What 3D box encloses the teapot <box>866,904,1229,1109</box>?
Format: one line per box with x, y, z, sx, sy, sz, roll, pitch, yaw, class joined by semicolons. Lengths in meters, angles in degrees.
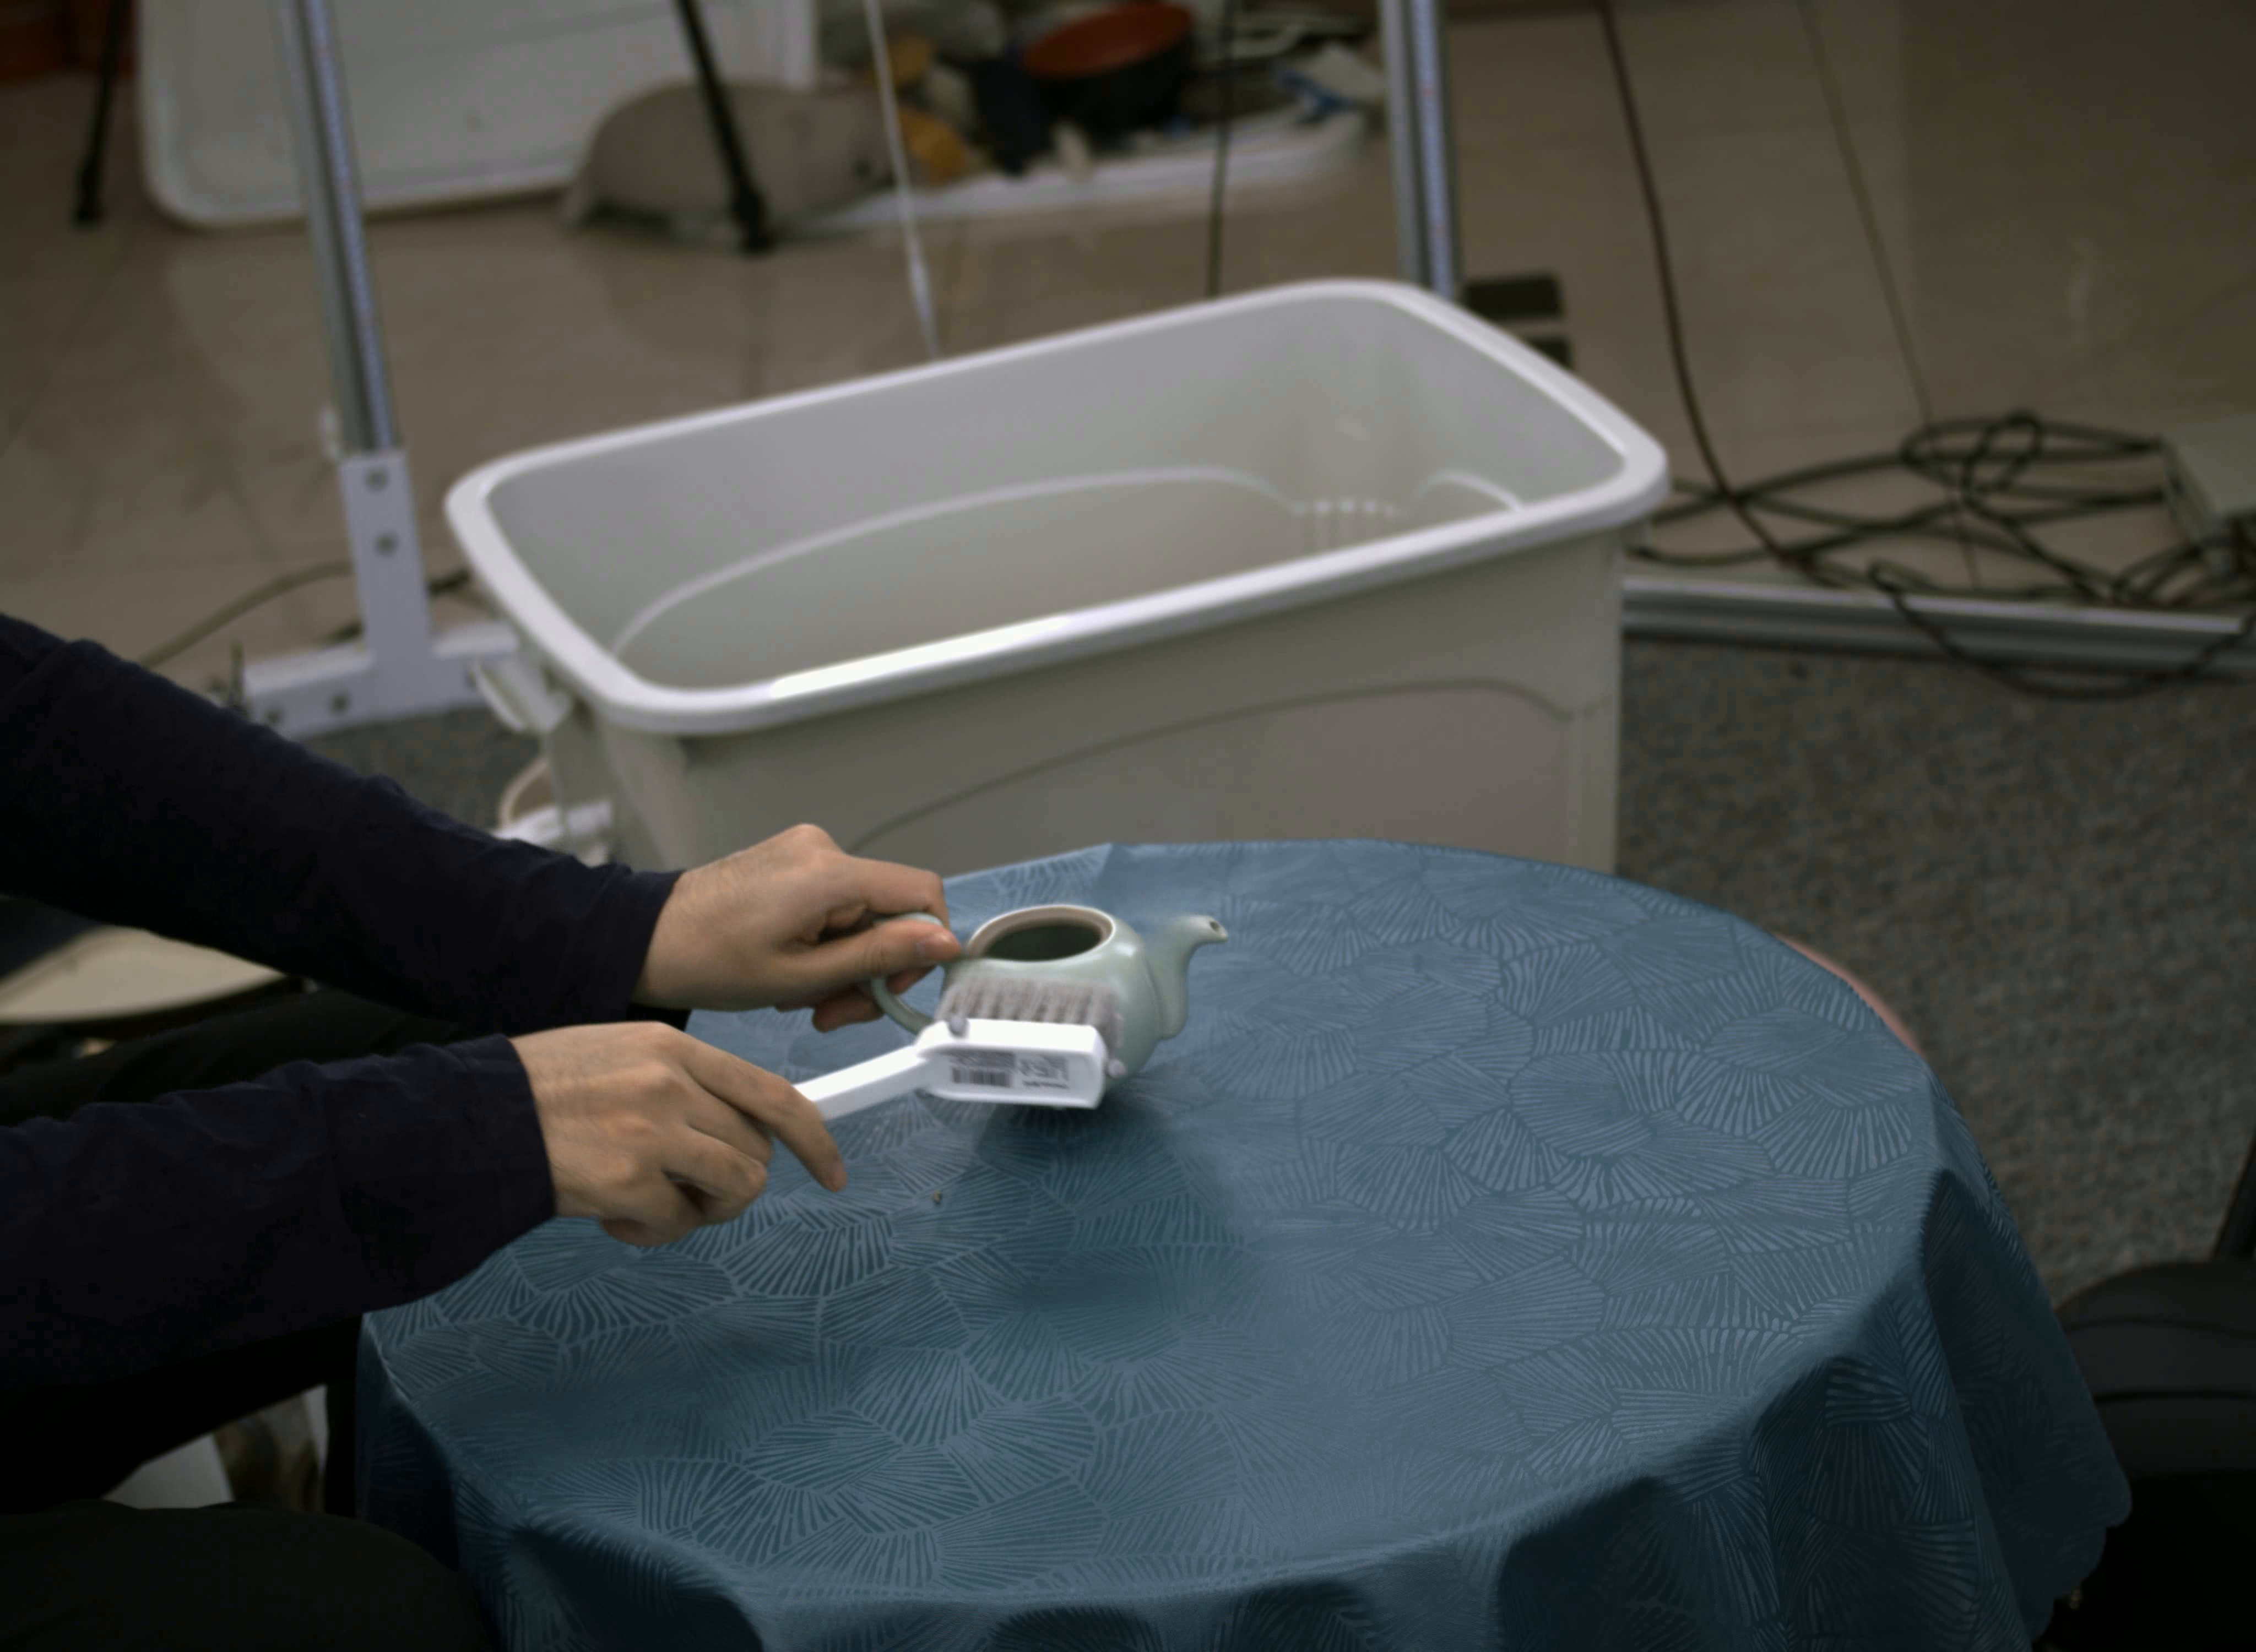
-0.030;0.069;2.208;0.143;0.076;0.087;2;24;11;teapot

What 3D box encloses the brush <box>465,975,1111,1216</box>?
-0.124;0.096;2.072;0.243;0.035;0.049;-12;46;-4;brush
